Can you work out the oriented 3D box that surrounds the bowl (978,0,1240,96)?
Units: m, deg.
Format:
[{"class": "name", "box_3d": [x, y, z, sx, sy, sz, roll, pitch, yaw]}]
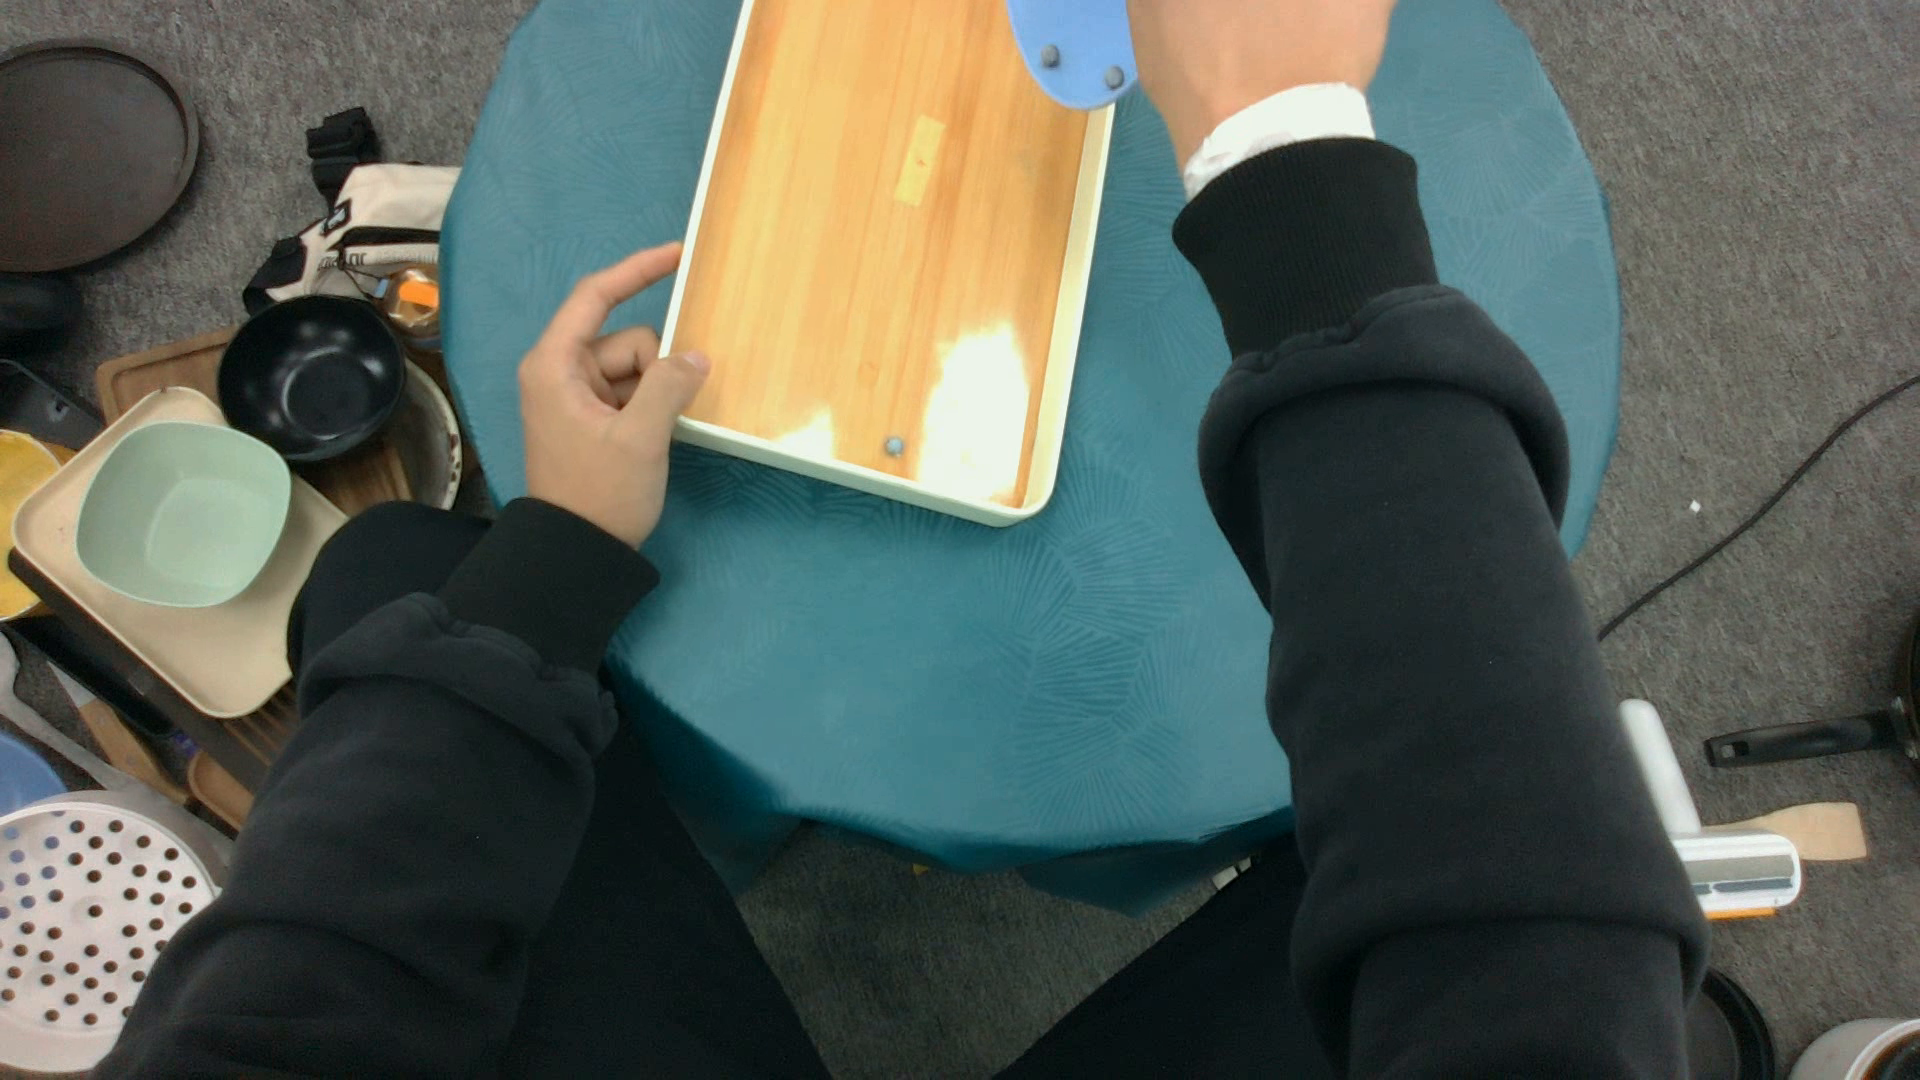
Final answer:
[{"class": "bowl", "box_3d": [0.072, -0.270, 0.557, 0.070, 0.175, 0.176, -6, 73, -28]}]

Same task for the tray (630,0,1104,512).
[{"class": "tray", "box_3d": [-0.035, -0.175, 0.665, 0.192, 0.027, 0.301, 15, 72, -18]}]
